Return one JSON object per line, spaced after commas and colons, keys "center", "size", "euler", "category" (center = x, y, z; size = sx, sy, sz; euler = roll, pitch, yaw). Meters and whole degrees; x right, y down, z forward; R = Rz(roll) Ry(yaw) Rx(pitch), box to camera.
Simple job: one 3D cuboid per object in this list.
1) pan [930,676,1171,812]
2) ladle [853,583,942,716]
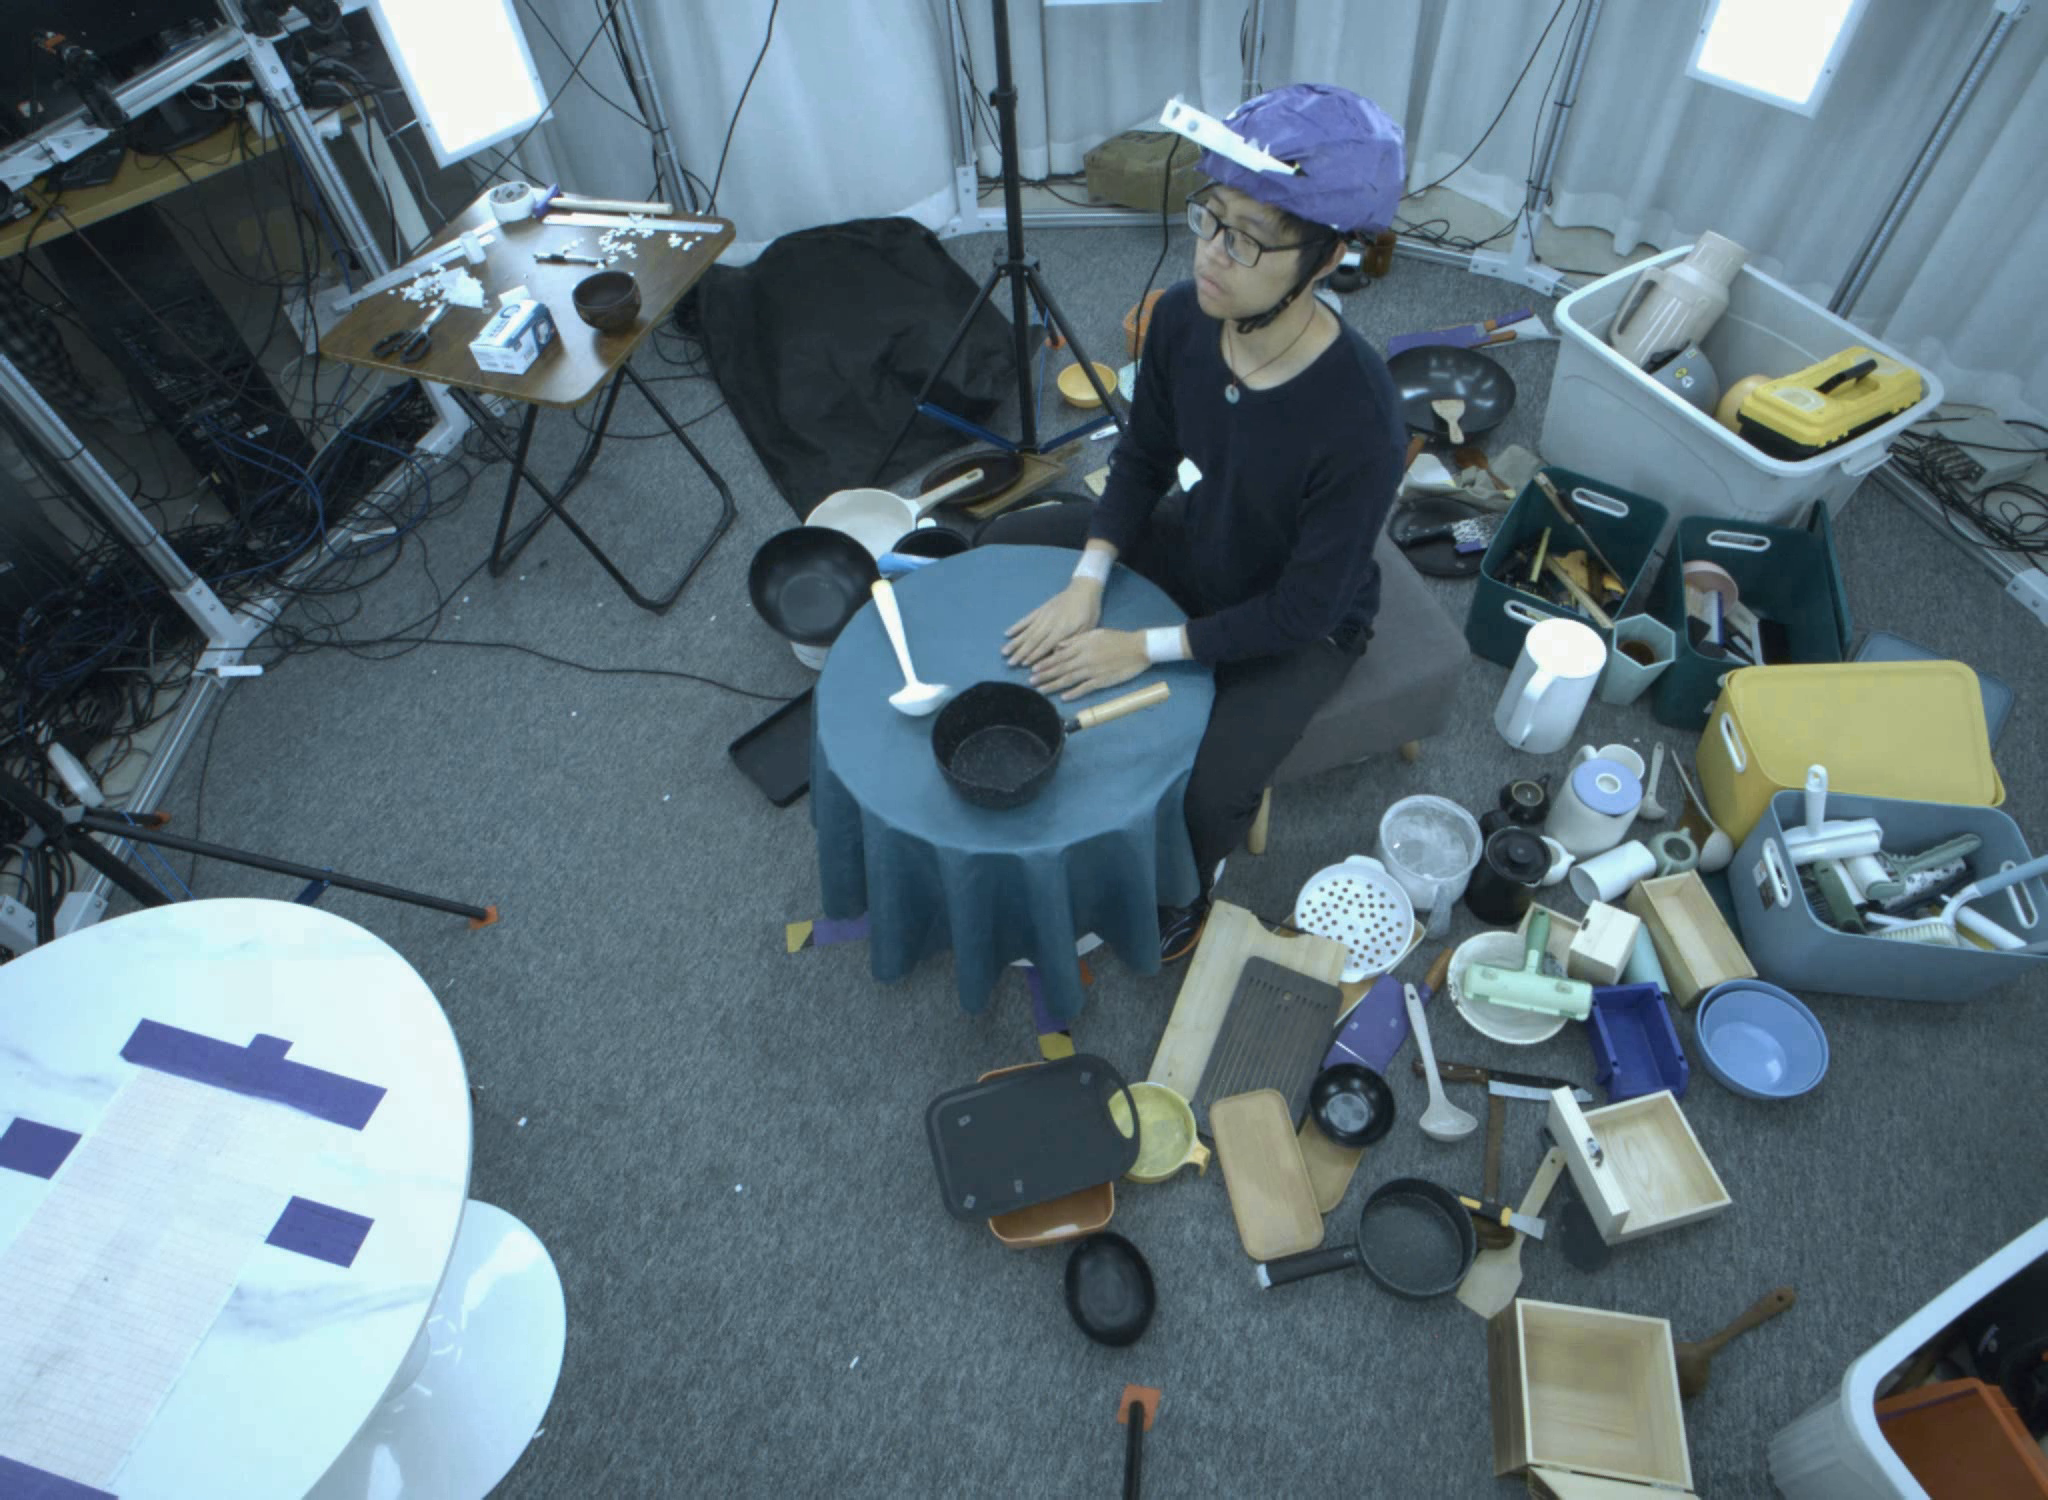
{"center": [0.041, -0.024, 1.736], "size": [0.344, 0.109, 0.204], "euler": [-14, 54, -6], "category": "pan"}
{"center": [-0.207, -0.162, 1.871], "size": [0.091, 0.070, 0.288], "euler": [-10, 55, -22], "category": "ladle"}
